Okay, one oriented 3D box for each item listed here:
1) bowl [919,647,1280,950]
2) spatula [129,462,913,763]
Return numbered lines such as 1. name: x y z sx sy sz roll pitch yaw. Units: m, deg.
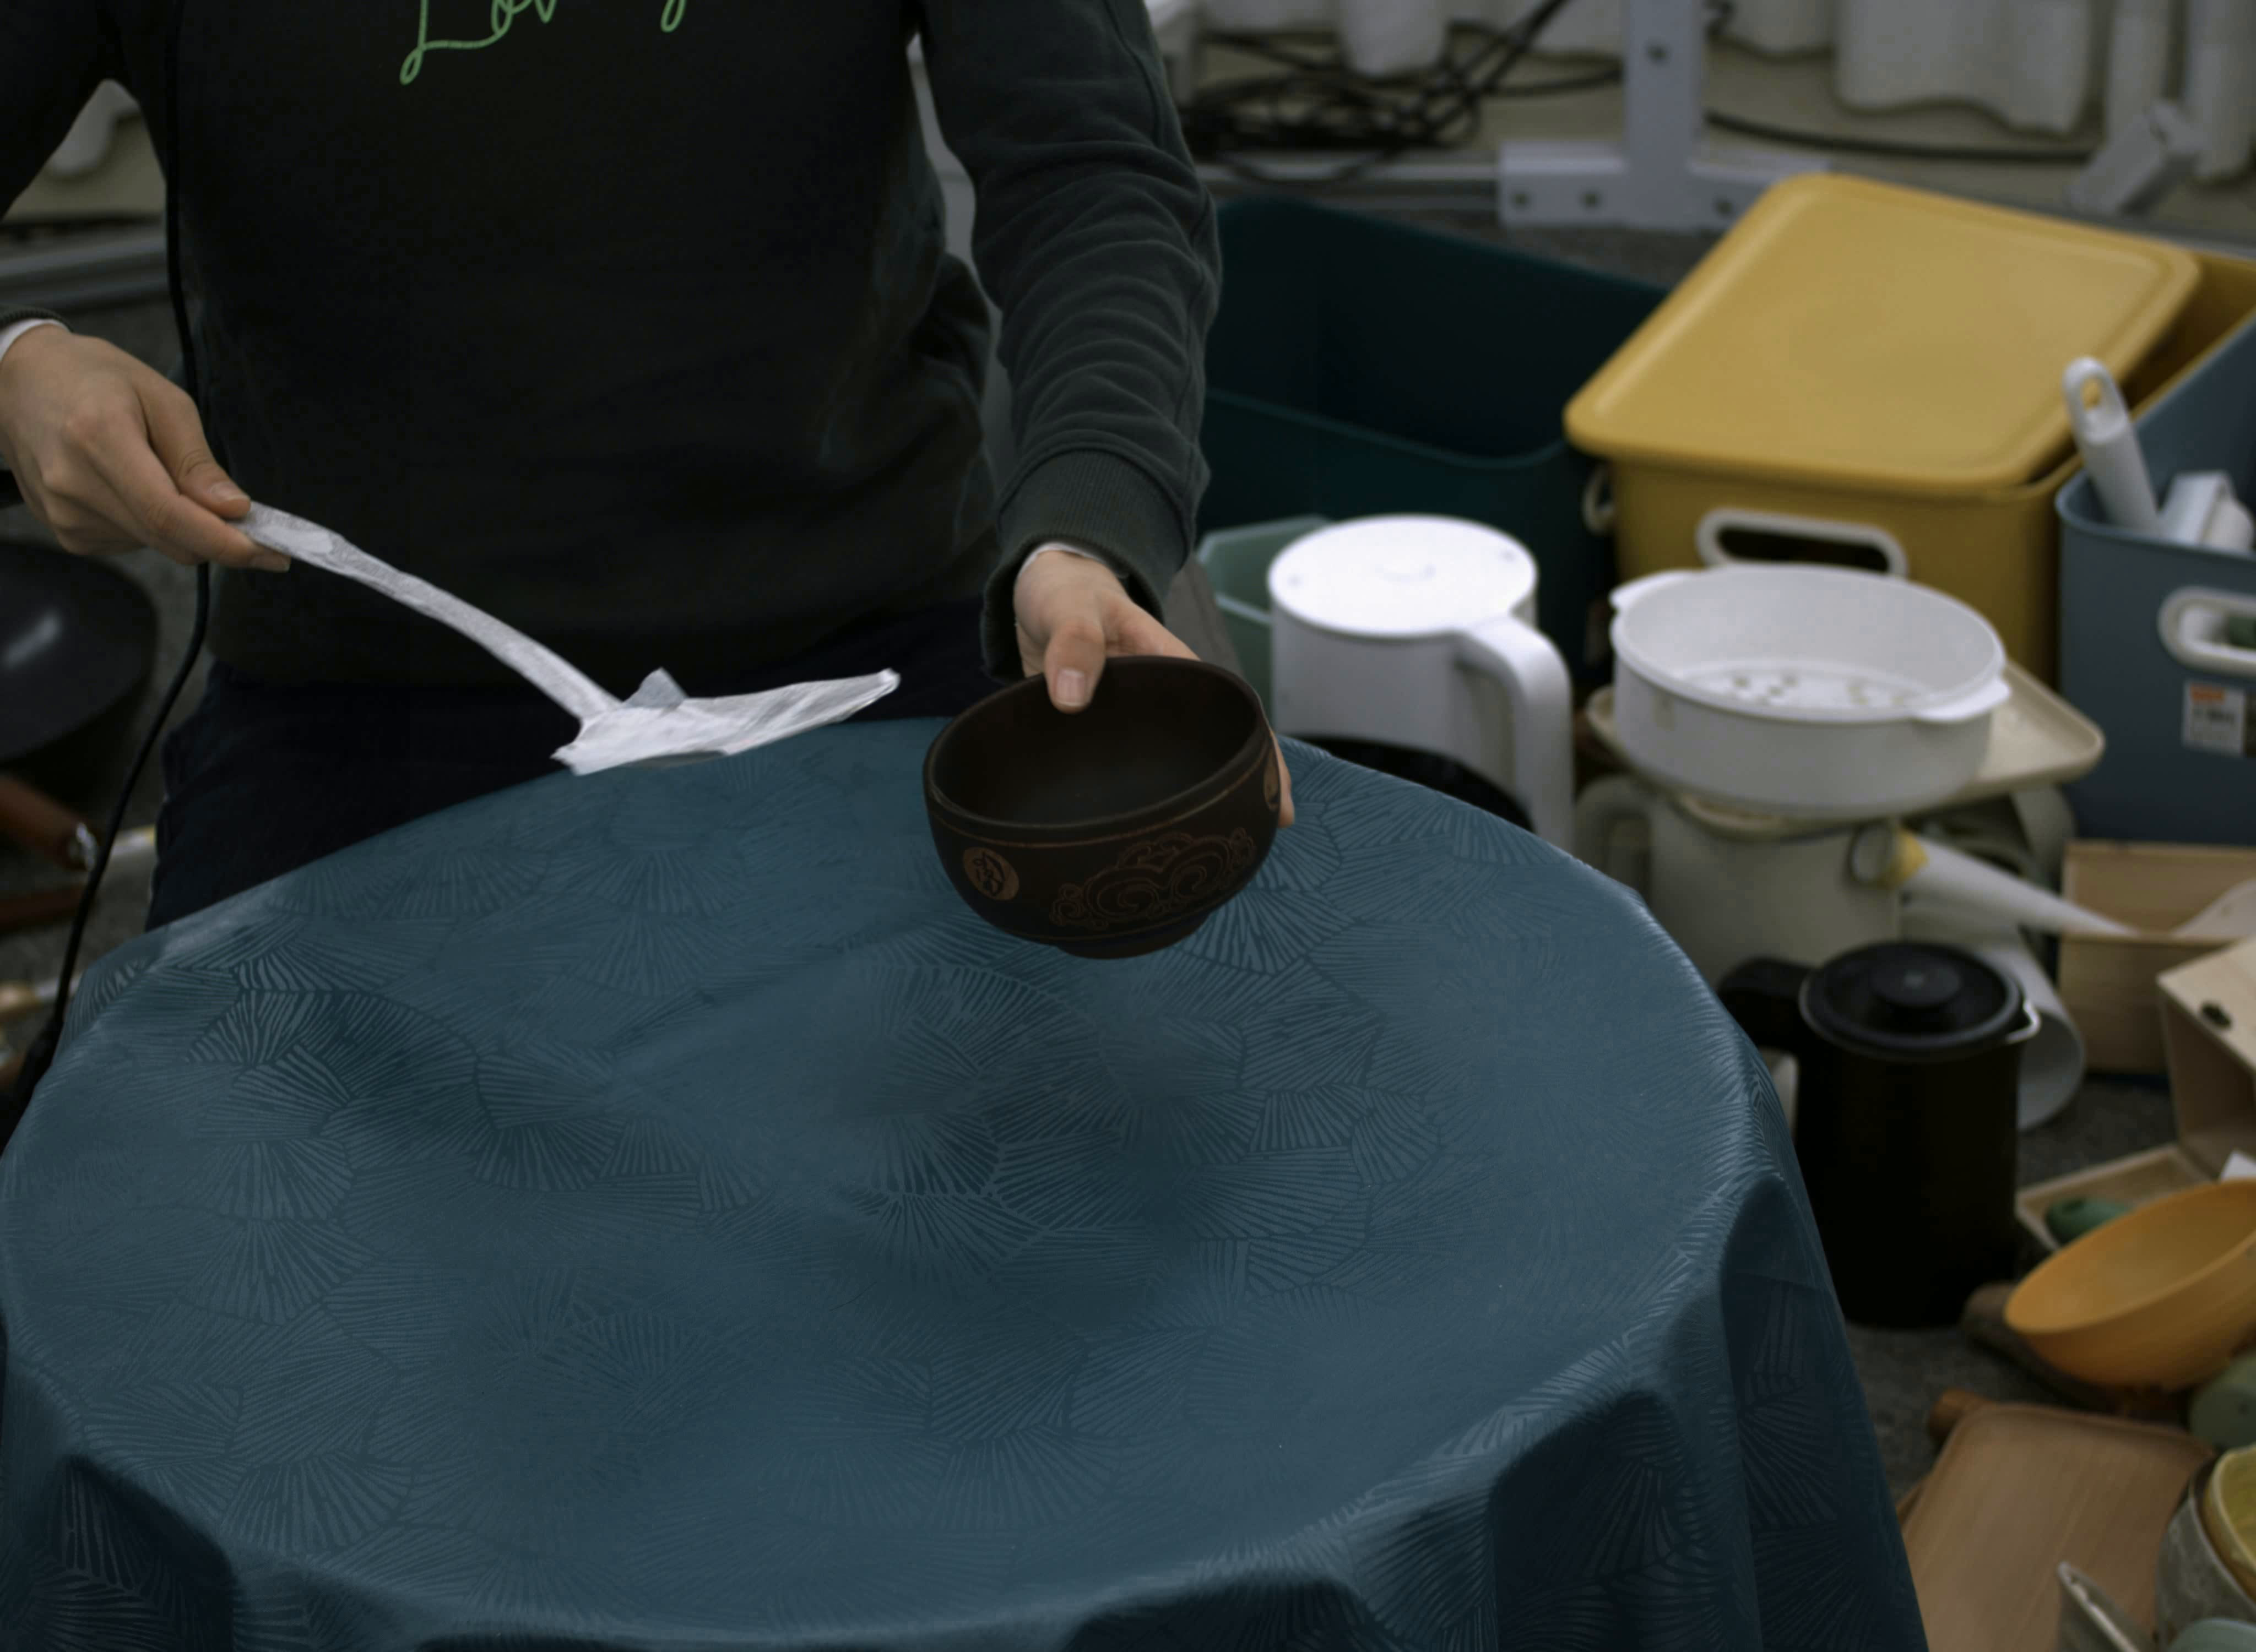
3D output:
1. bowl: -0.007 -0.002 1.859 0.117 0.069 0.120 -8 27 4
2. spatula: -0.223 -0.079 1.868 0.364 0.044 0.100 25 34 37
